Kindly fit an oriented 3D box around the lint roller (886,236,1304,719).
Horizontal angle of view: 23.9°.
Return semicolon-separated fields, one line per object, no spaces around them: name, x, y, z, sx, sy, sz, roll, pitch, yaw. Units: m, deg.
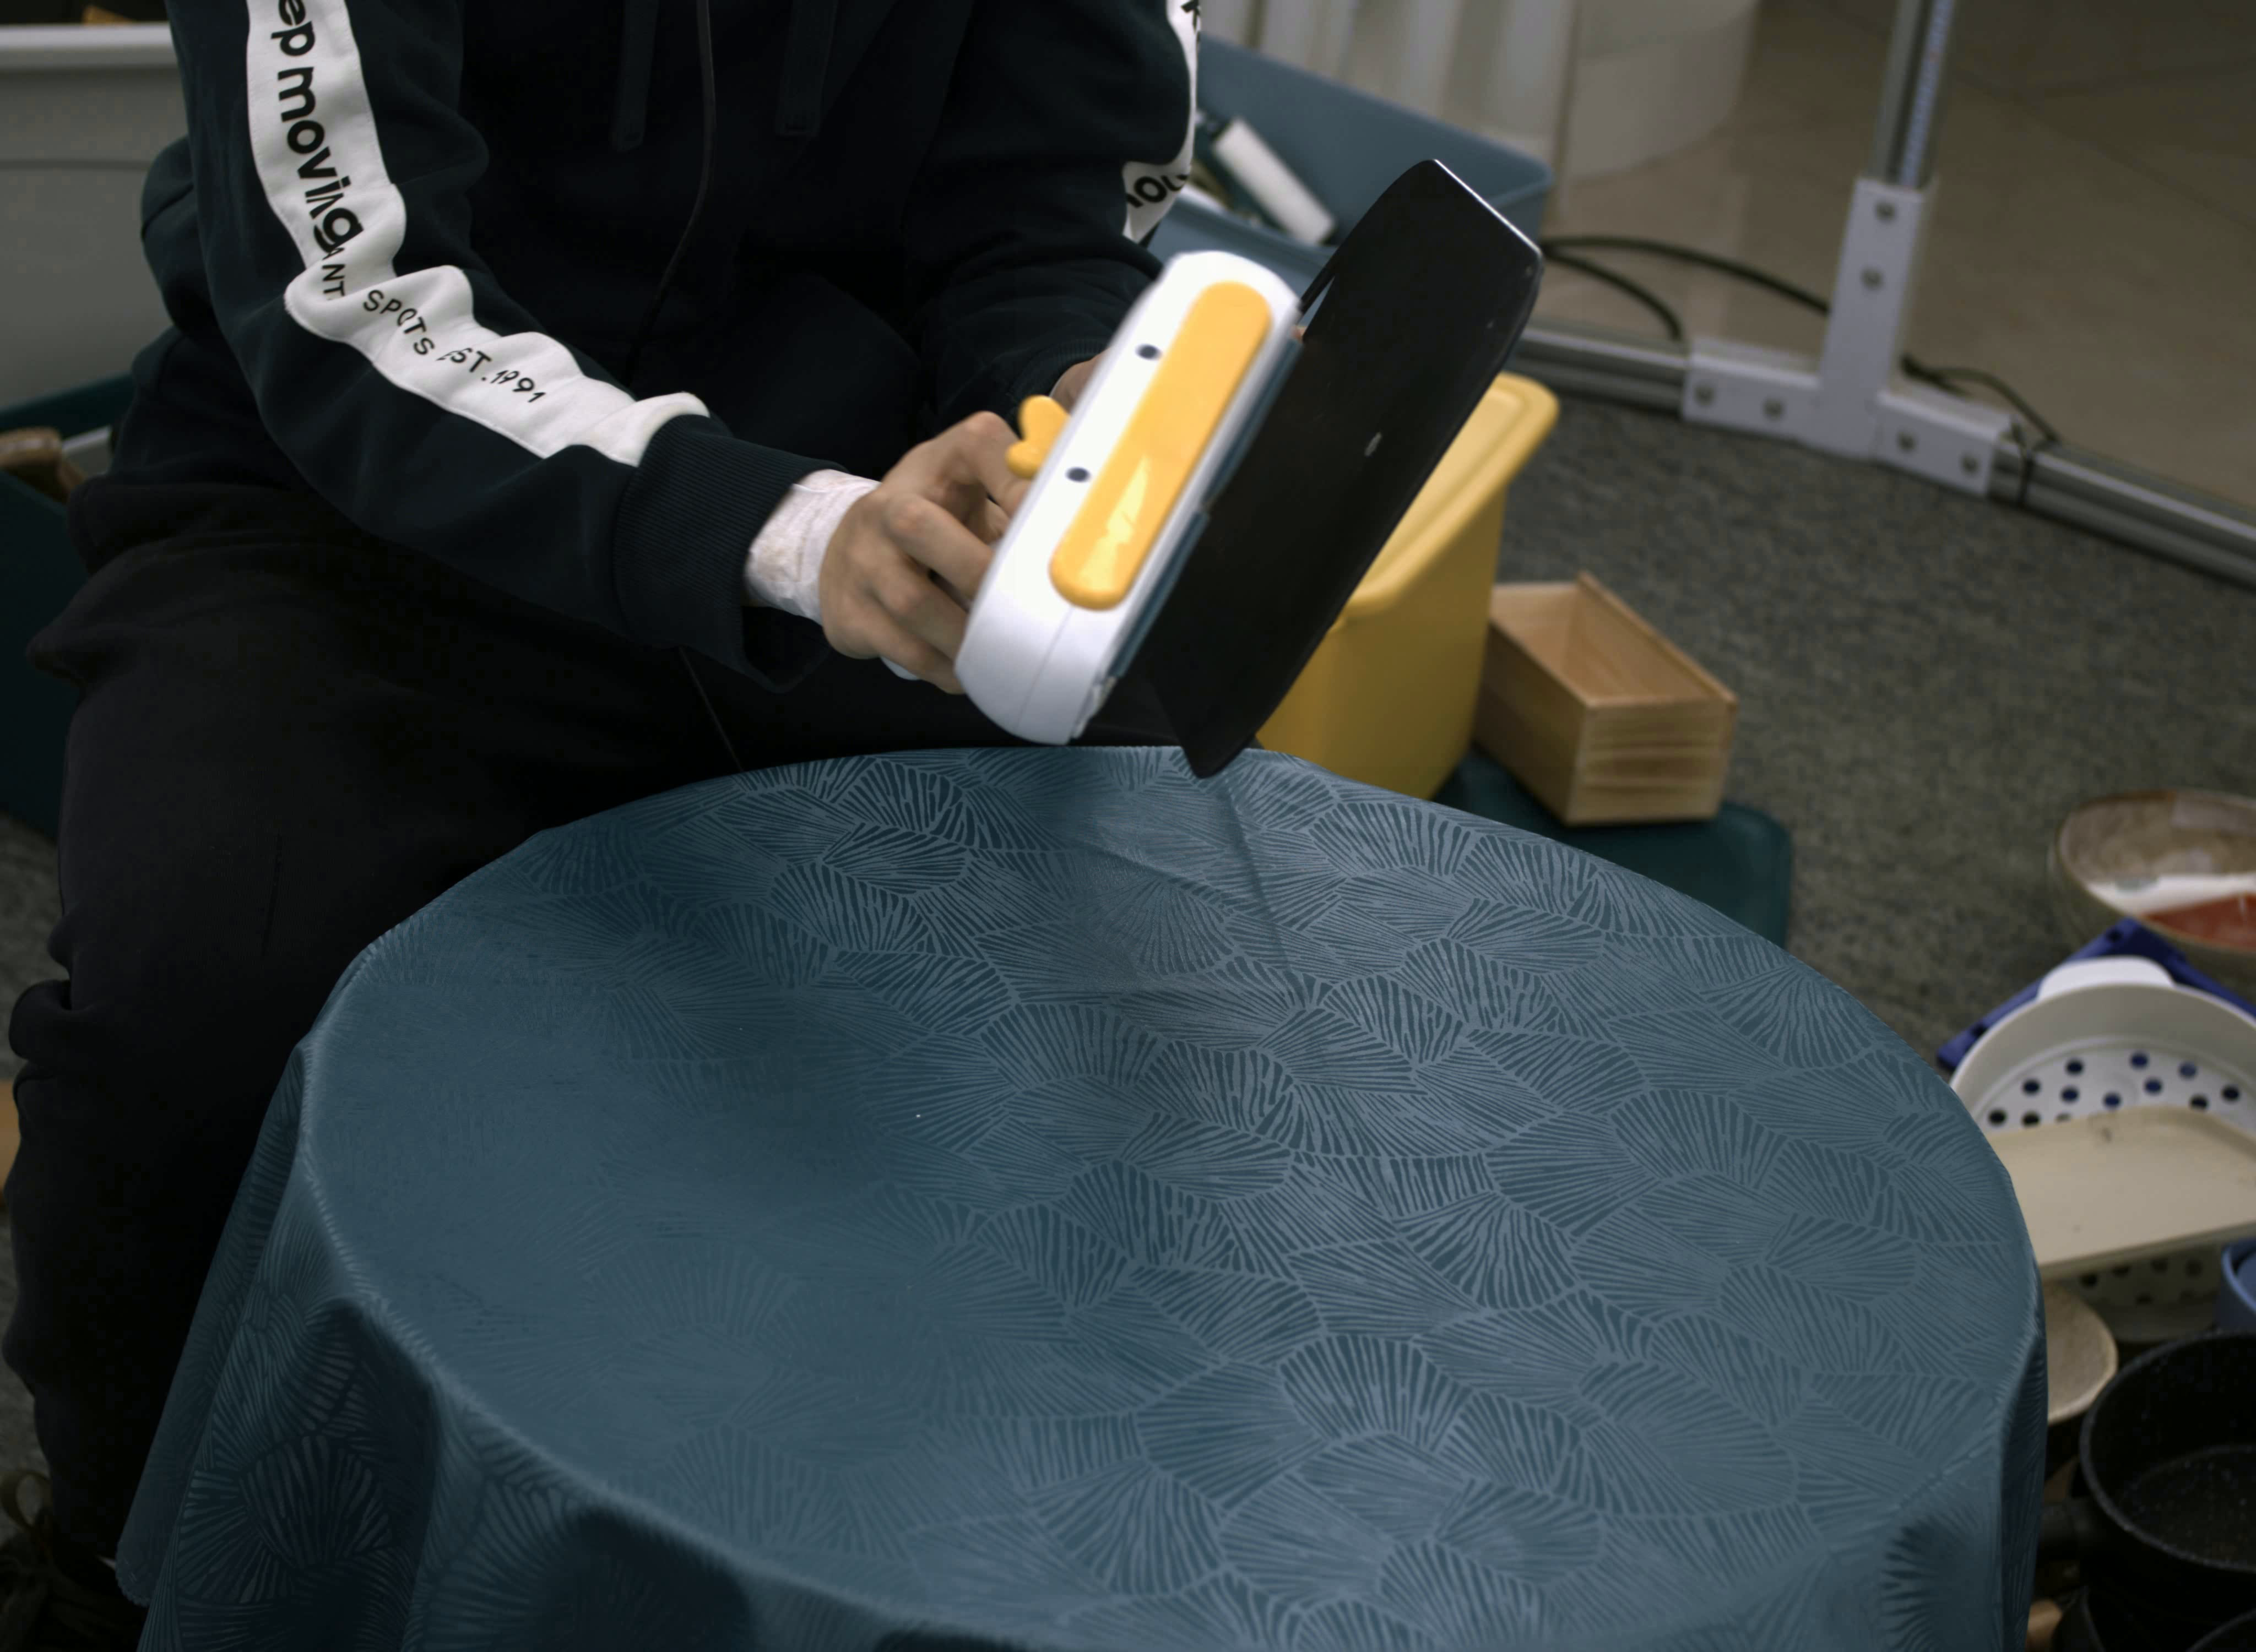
lint roller;-0.022;-0.091;1.801;0.074;0.192;0.194;28;52;-7

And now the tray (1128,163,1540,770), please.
tray;0.067;-0.134;1.882;0.010;0.211;0.327;32;8;-12
